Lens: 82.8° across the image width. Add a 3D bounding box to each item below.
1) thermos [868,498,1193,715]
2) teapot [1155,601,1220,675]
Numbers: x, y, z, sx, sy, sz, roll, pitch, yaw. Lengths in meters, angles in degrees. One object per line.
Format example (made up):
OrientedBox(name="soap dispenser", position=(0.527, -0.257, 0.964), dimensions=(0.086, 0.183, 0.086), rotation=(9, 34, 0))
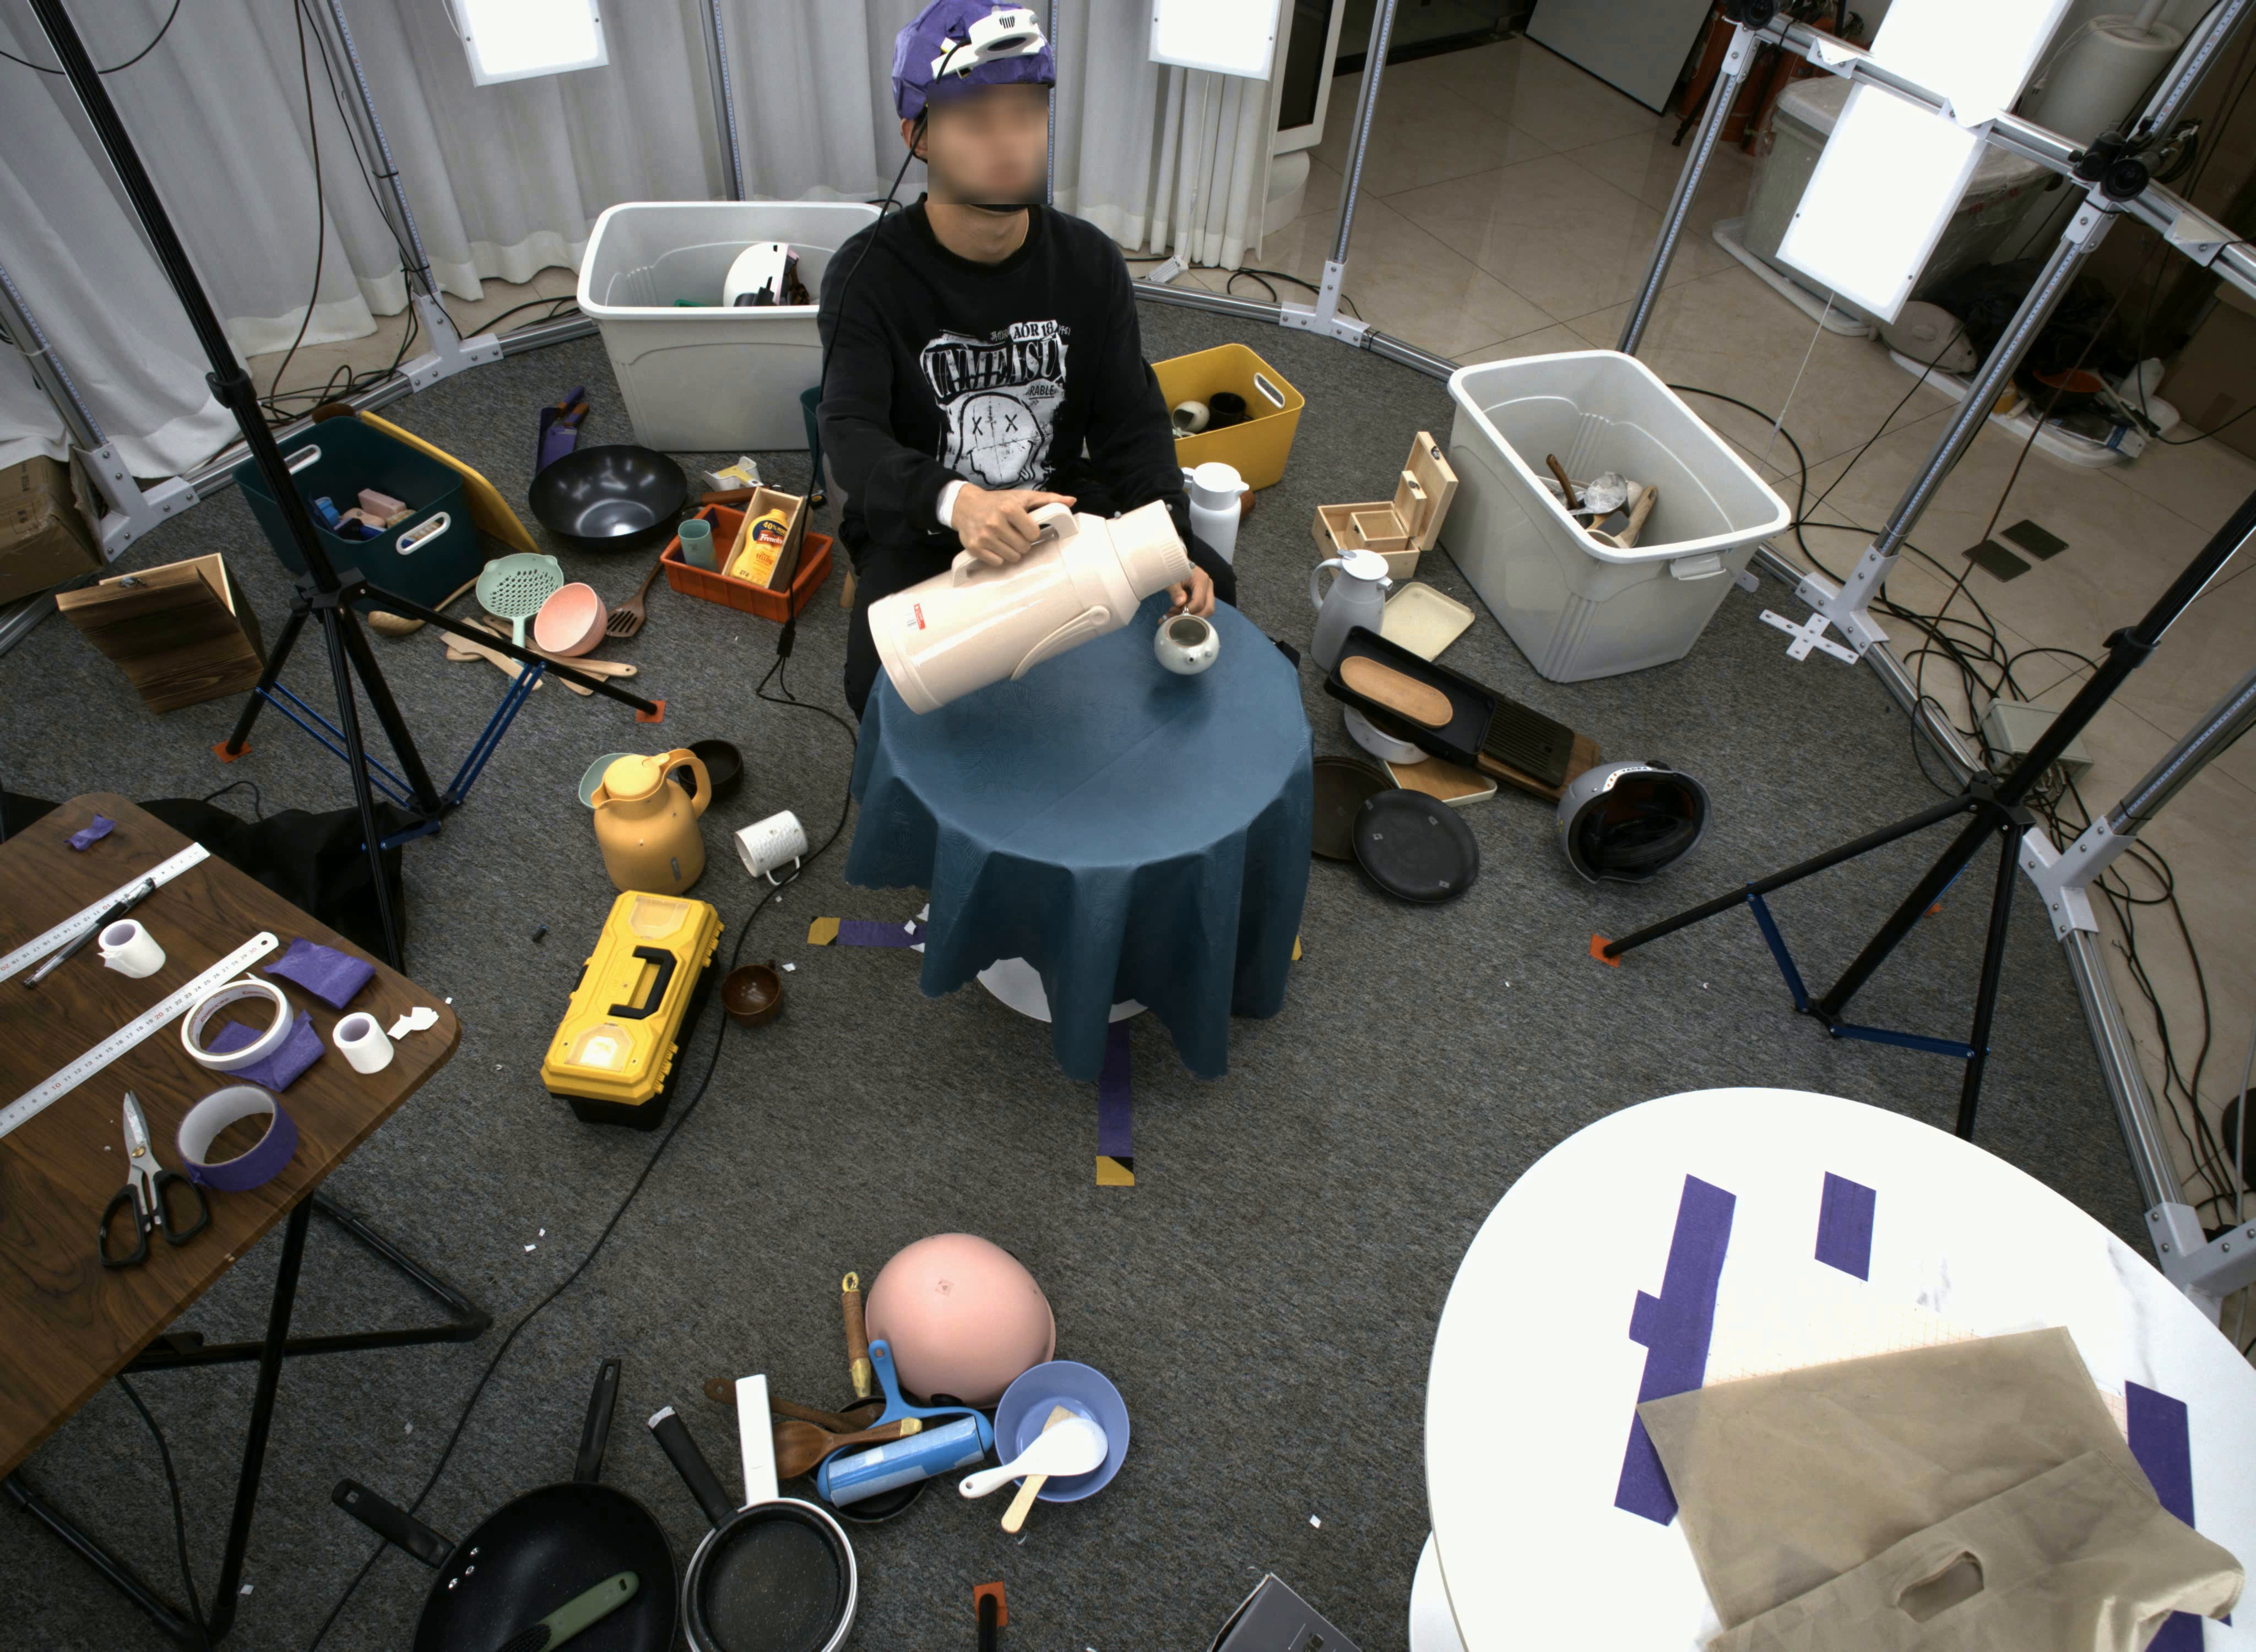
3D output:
OrientedBox(name="thermos", position=(-0.127, -0.301, 1.652), dimensions=(0.405, 0.202, 0.180), rotation=(-22, 48, 11))
OrientedBox(name="teapot", position=(0.083, -0.263, 1.813), dimensions=(0.092, 0.058, 0.131), rotation=(-6, 54, -1))
